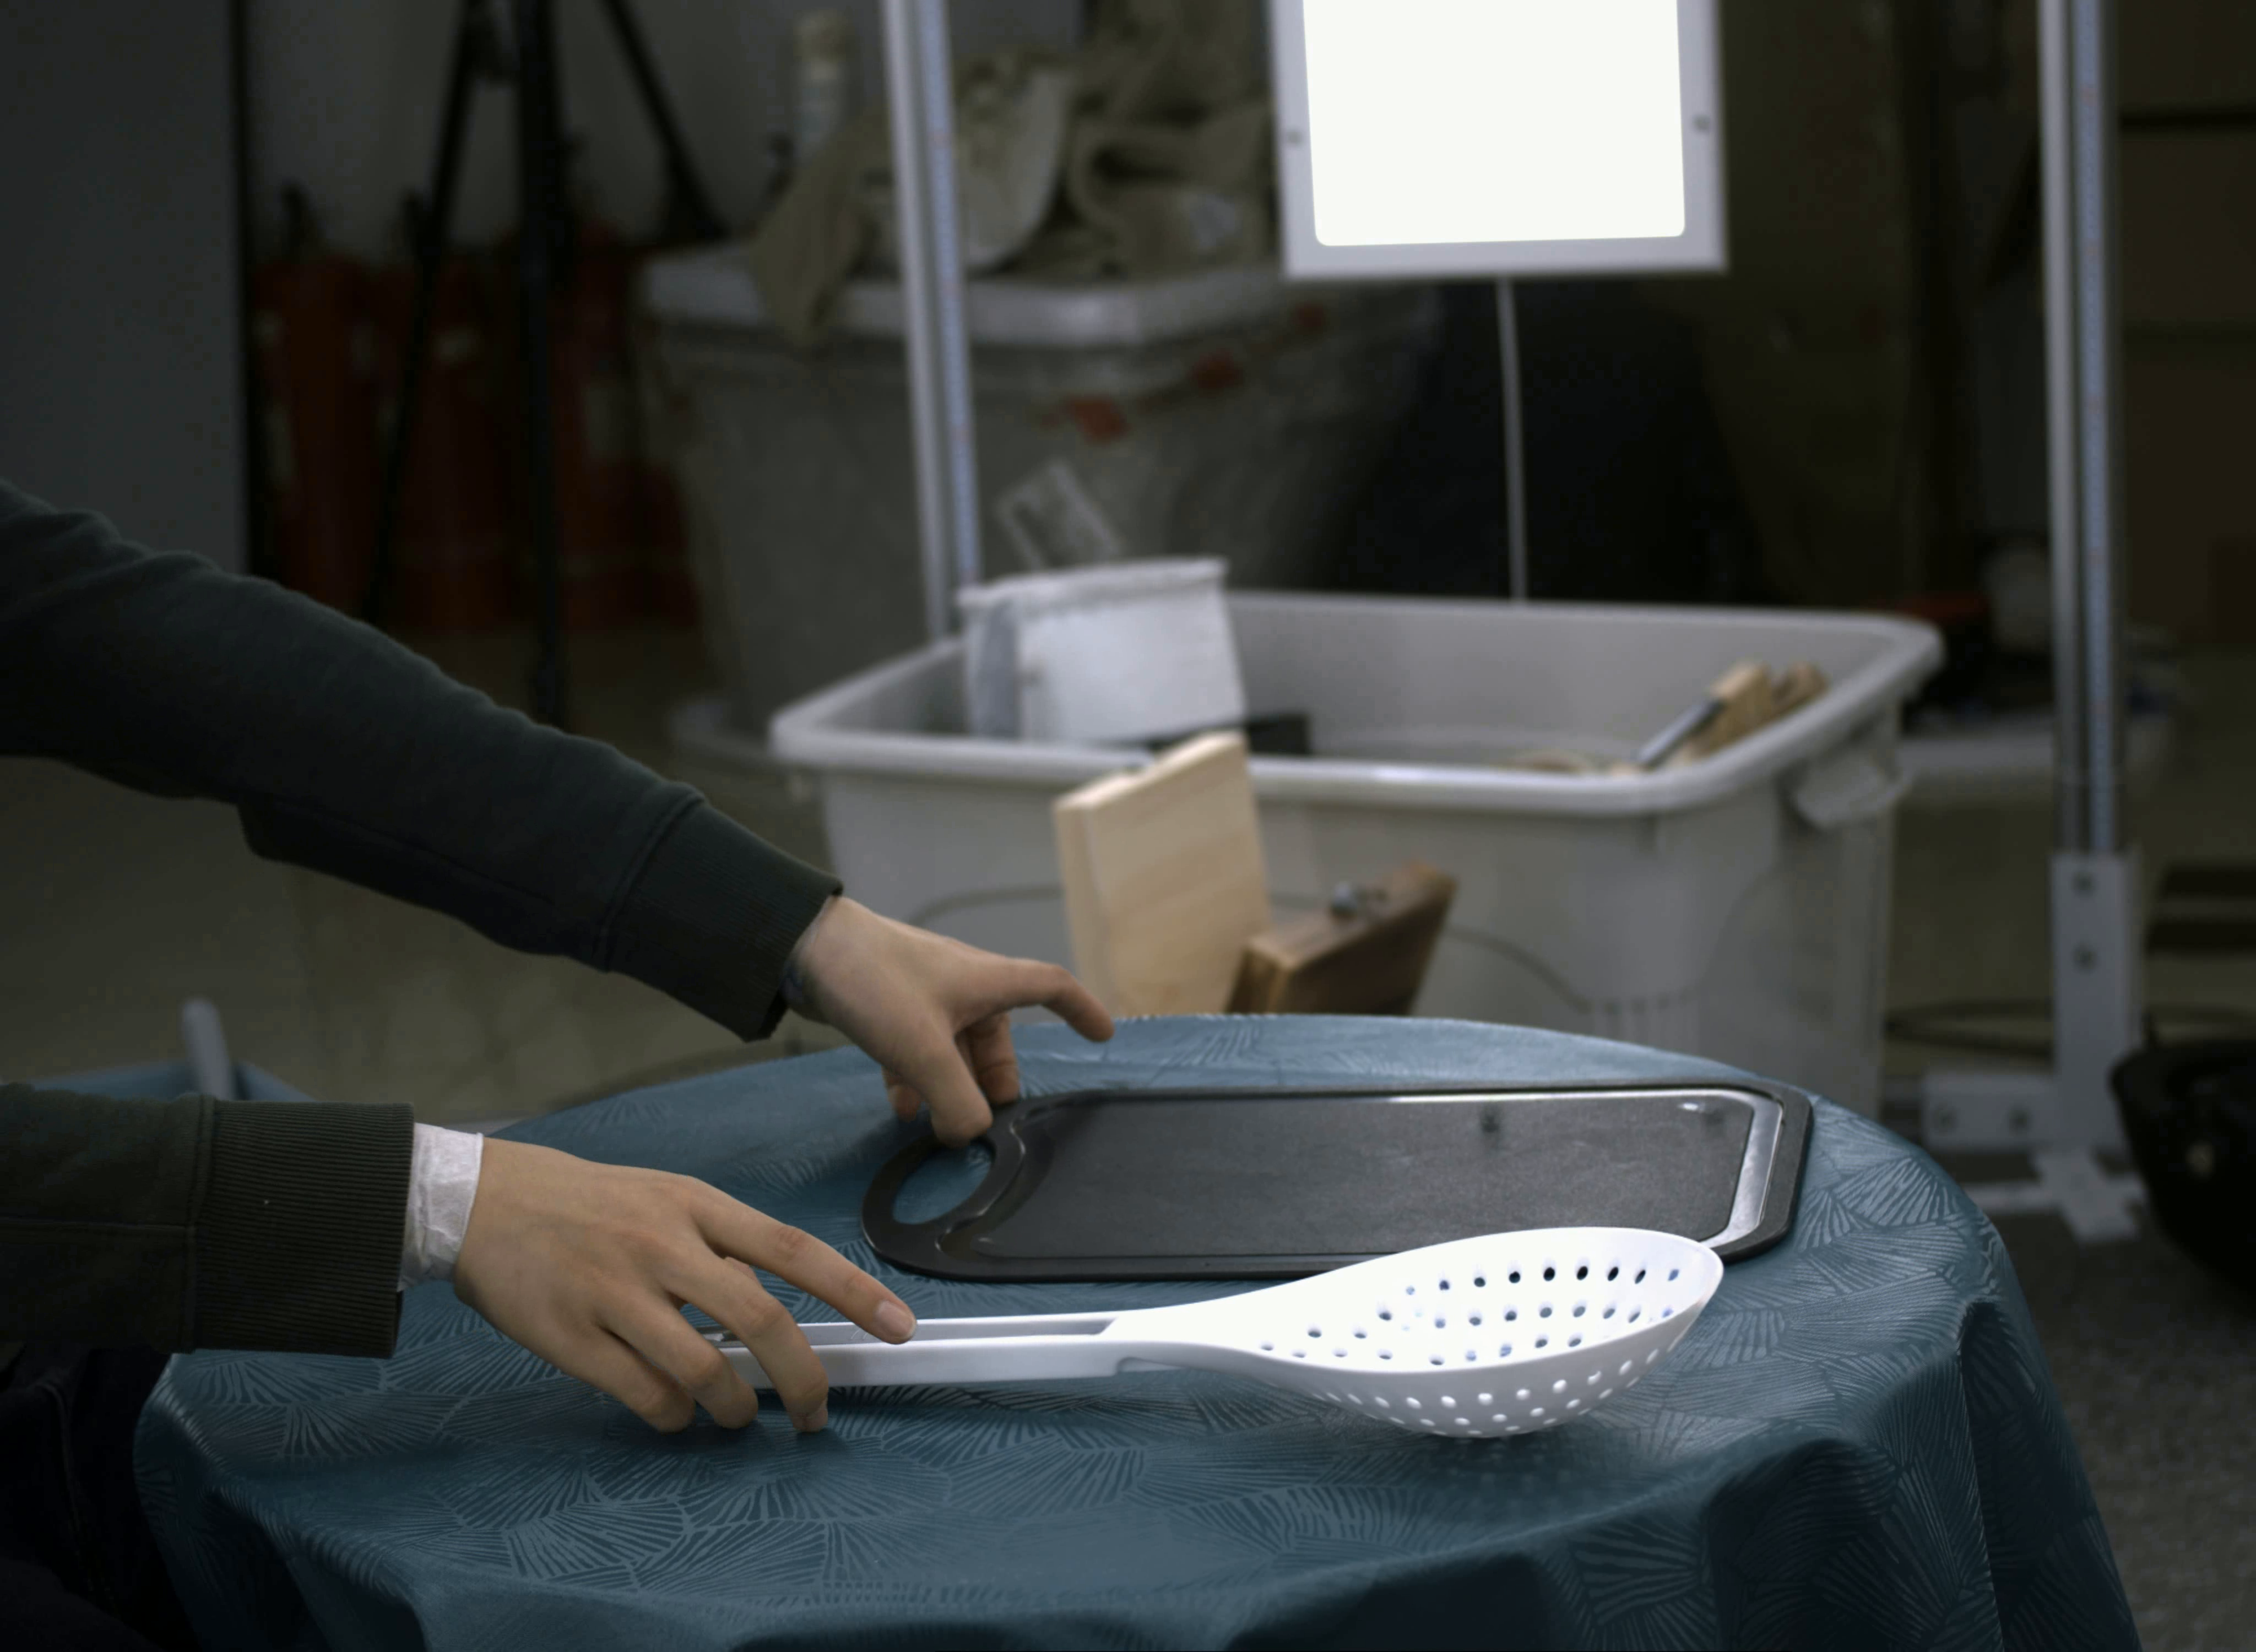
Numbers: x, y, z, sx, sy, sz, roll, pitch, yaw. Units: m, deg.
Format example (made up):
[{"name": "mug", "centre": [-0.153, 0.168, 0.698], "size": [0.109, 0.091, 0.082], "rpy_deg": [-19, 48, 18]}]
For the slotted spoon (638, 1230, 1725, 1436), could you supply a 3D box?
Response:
[{"name": "slotted spoon", "centre": [0.011, 0.156, 1.678], "size": [0.355, 0.046, 0.133], "rpy_deg": [0, 12, 22]}]

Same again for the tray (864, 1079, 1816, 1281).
[{"name": "tray", "centre": [0.071, 0.119, 1.889], "size": [0.328, 0.010, 0.208], "rpy_deg": [-2, 14, 13]}]
